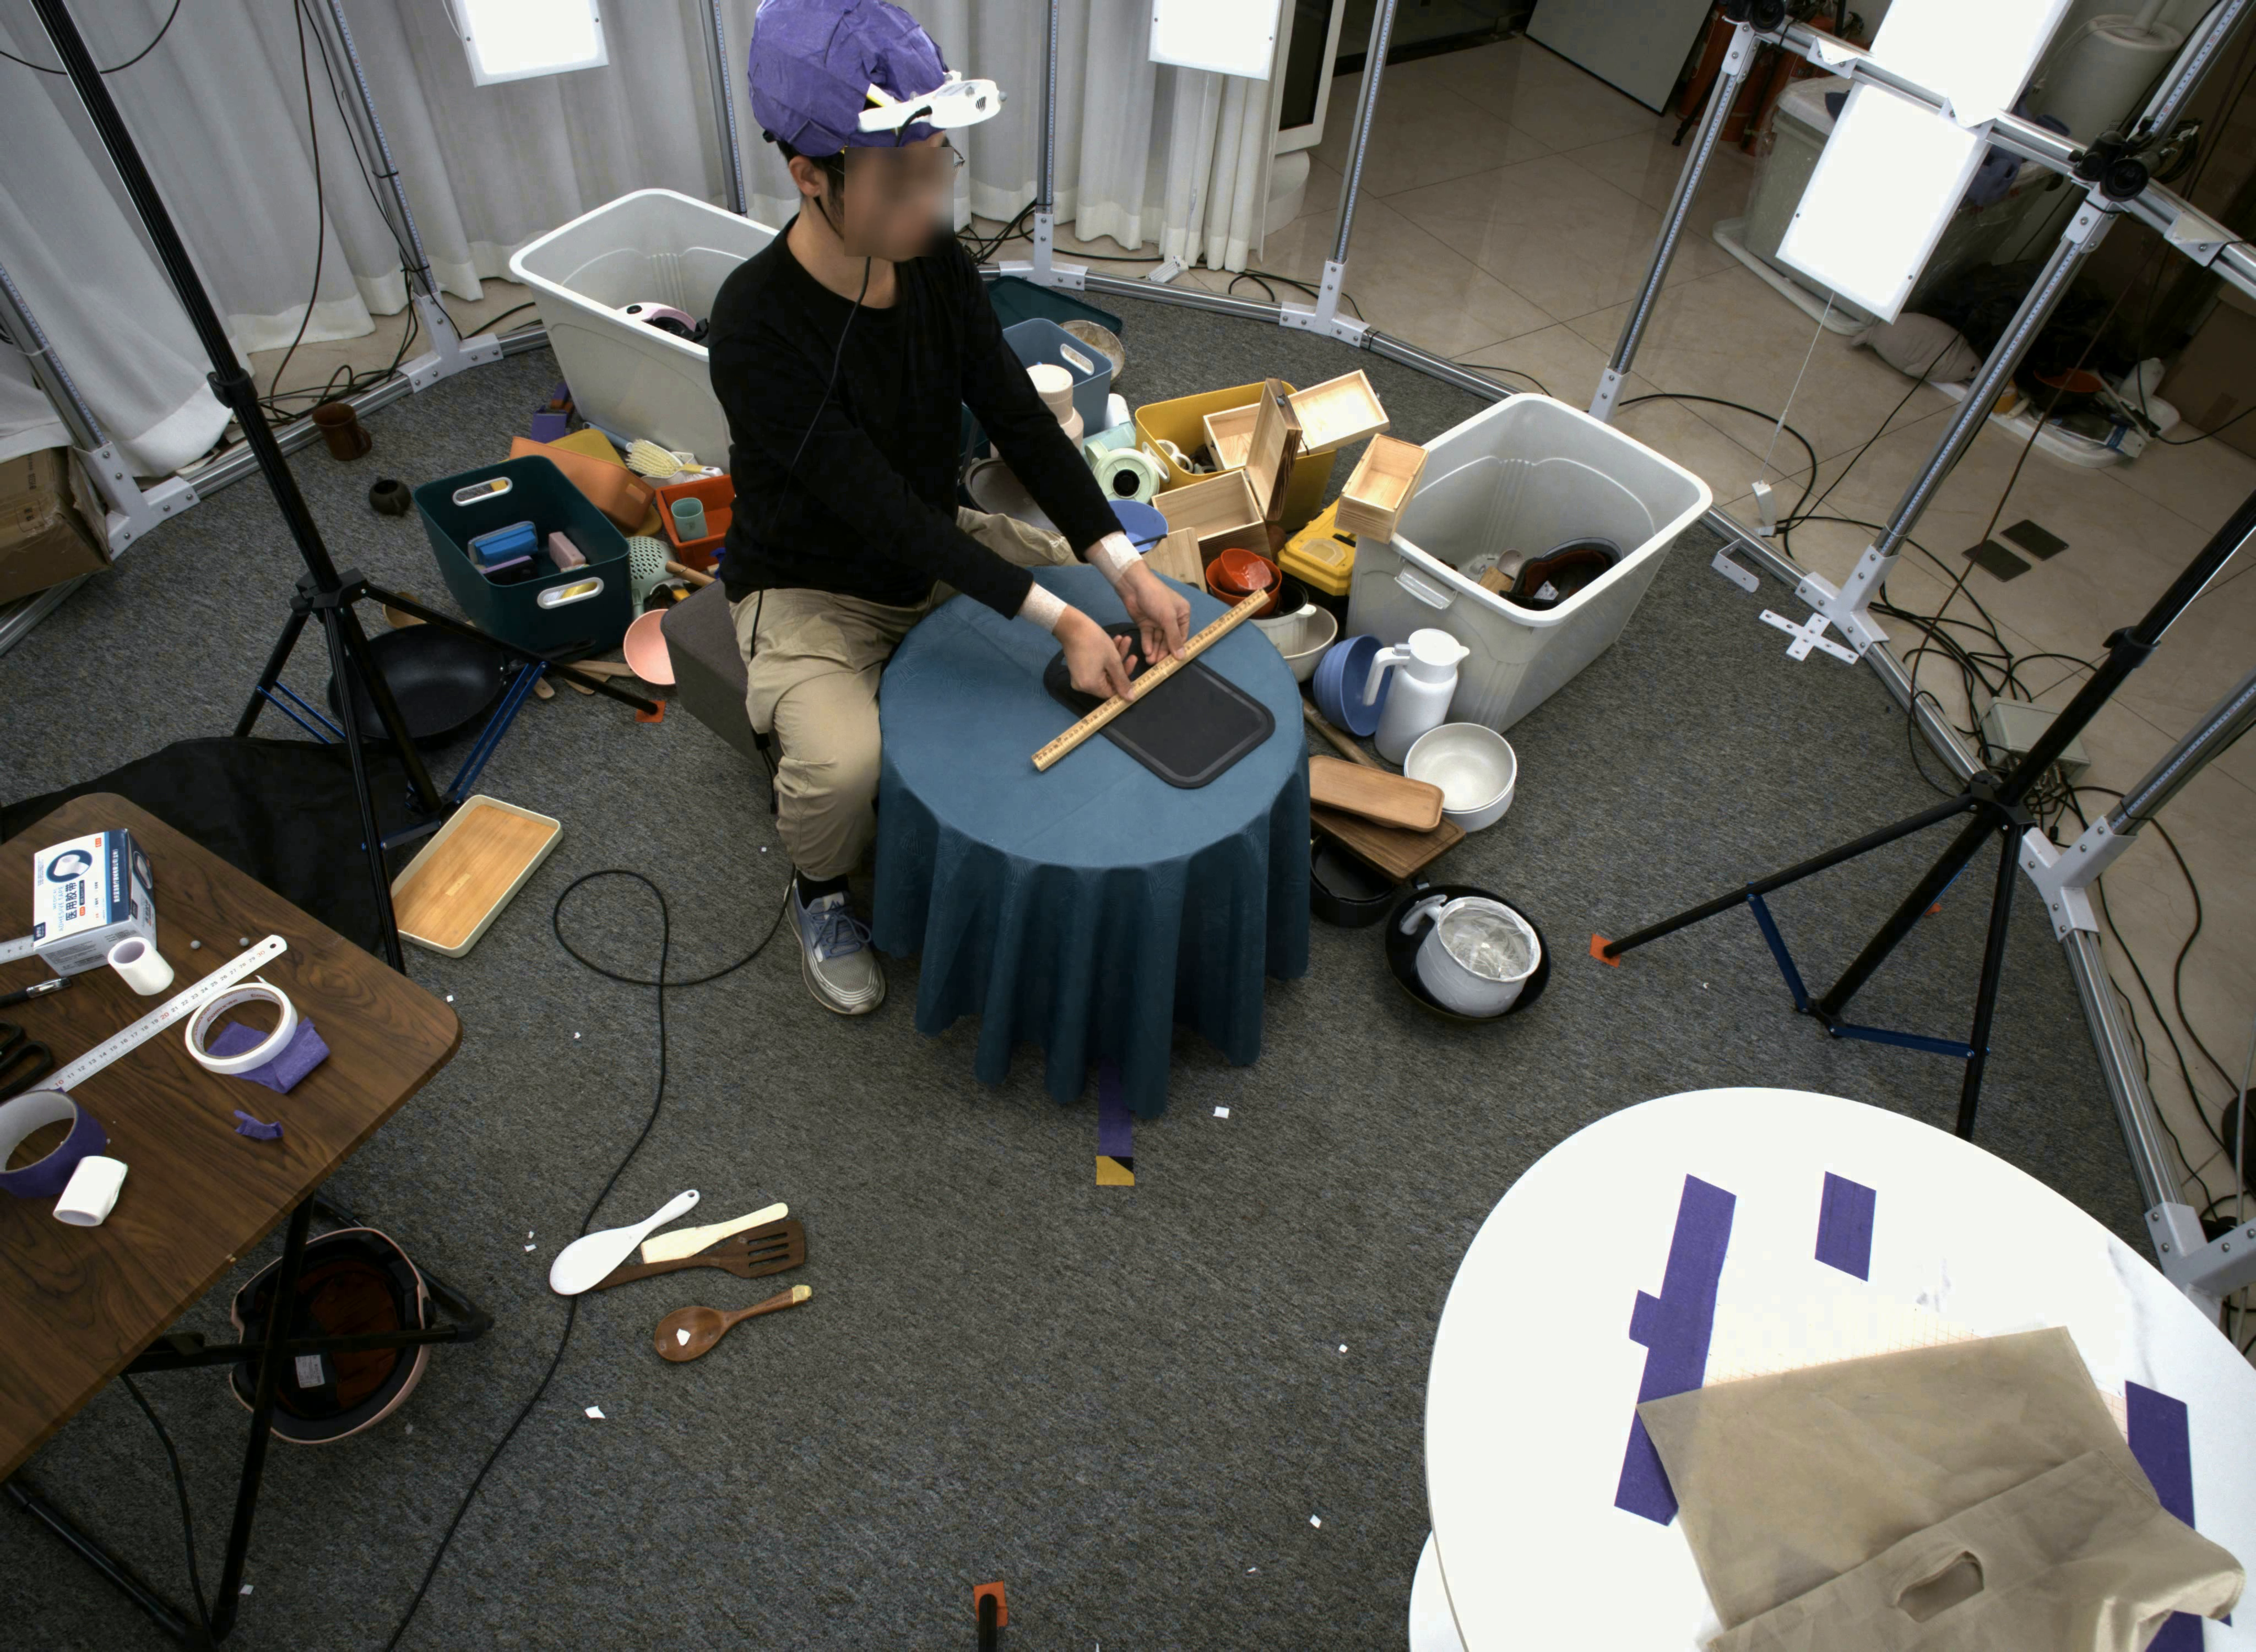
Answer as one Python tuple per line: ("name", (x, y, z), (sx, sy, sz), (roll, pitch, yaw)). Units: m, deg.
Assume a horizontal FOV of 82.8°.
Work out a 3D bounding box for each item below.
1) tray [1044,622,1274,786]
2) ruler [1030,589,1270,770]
("tray", (0.036, -0.185, 1.828), (0.213, 0.009, 0.330), (-35, 60, -29))
("ruler", (0.043, -0.221, 1.849), (0.505, 0.006, 0.027), (-39, 94, -31))
